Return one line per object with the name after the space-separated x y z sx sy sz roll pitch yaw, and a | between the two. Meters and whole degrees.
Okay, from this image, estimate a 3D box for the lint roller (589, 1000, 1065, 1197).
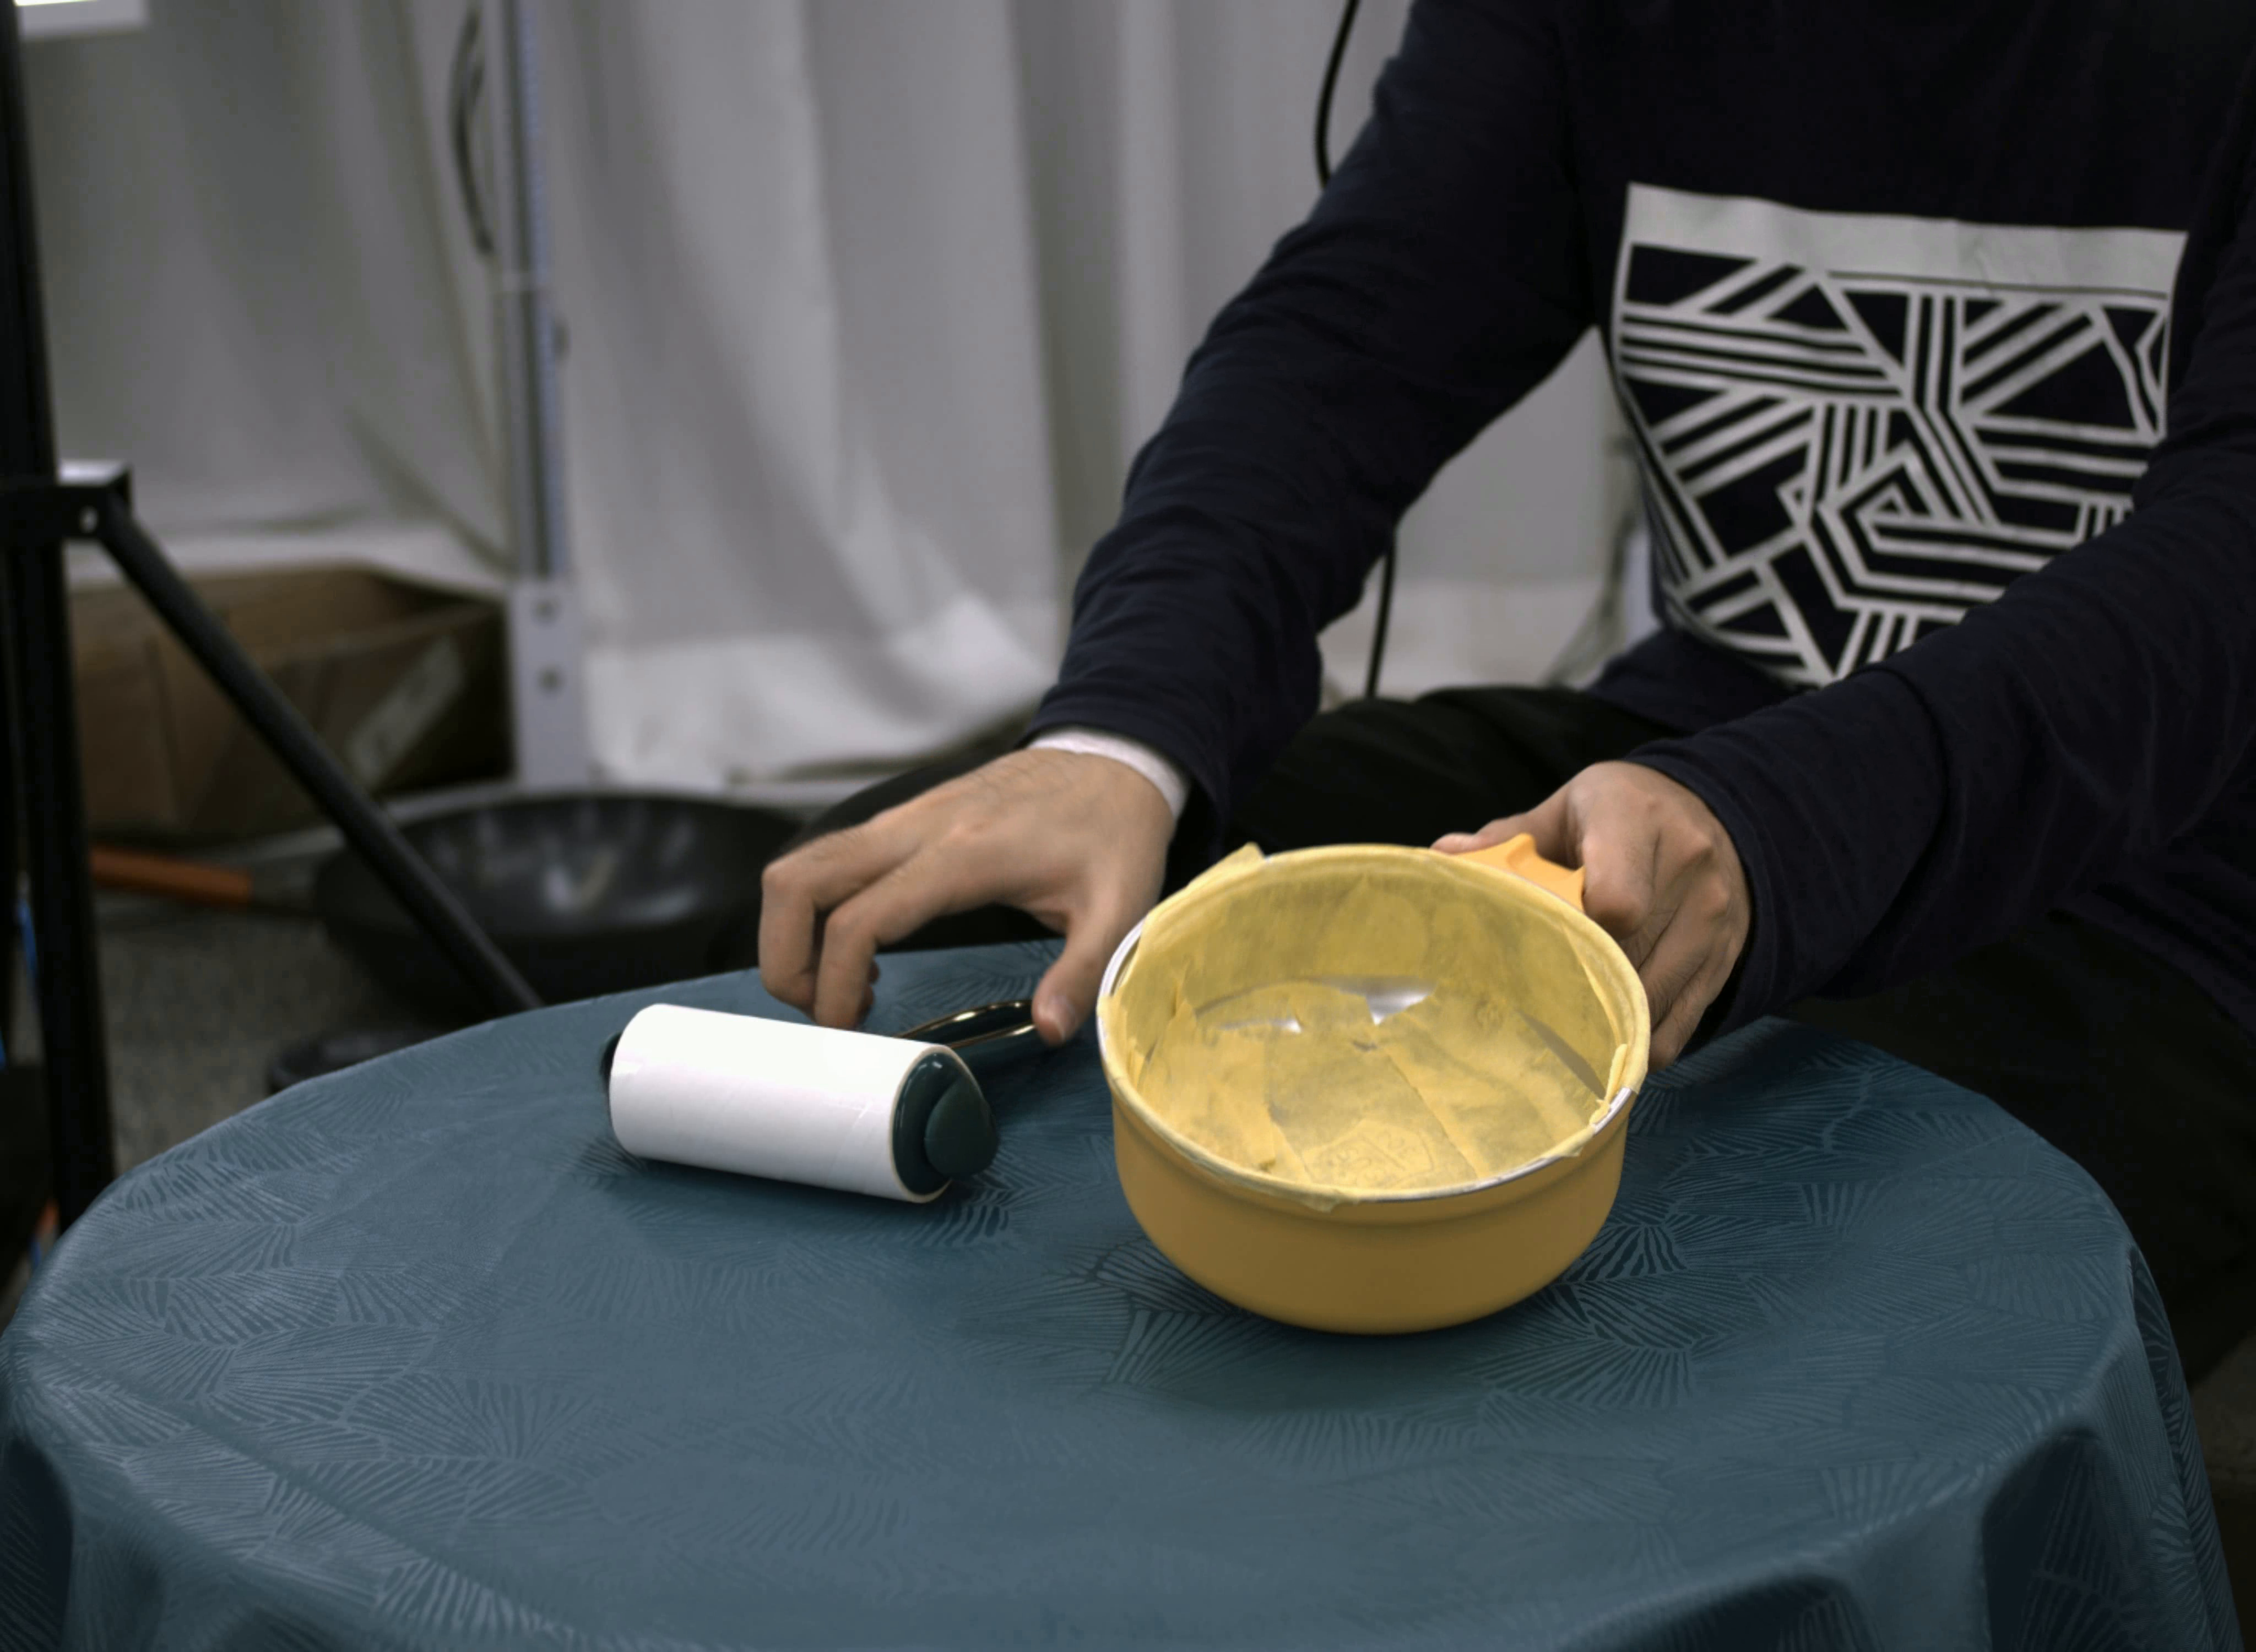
-0.069 0.070 1.639 0.137 0.048 0.176 6 13 30 | lint roller

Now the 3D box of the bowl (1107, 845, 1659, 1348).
0.077 0.074 1.484 0.155 0.074 0.177 17 41 24 | bowl
